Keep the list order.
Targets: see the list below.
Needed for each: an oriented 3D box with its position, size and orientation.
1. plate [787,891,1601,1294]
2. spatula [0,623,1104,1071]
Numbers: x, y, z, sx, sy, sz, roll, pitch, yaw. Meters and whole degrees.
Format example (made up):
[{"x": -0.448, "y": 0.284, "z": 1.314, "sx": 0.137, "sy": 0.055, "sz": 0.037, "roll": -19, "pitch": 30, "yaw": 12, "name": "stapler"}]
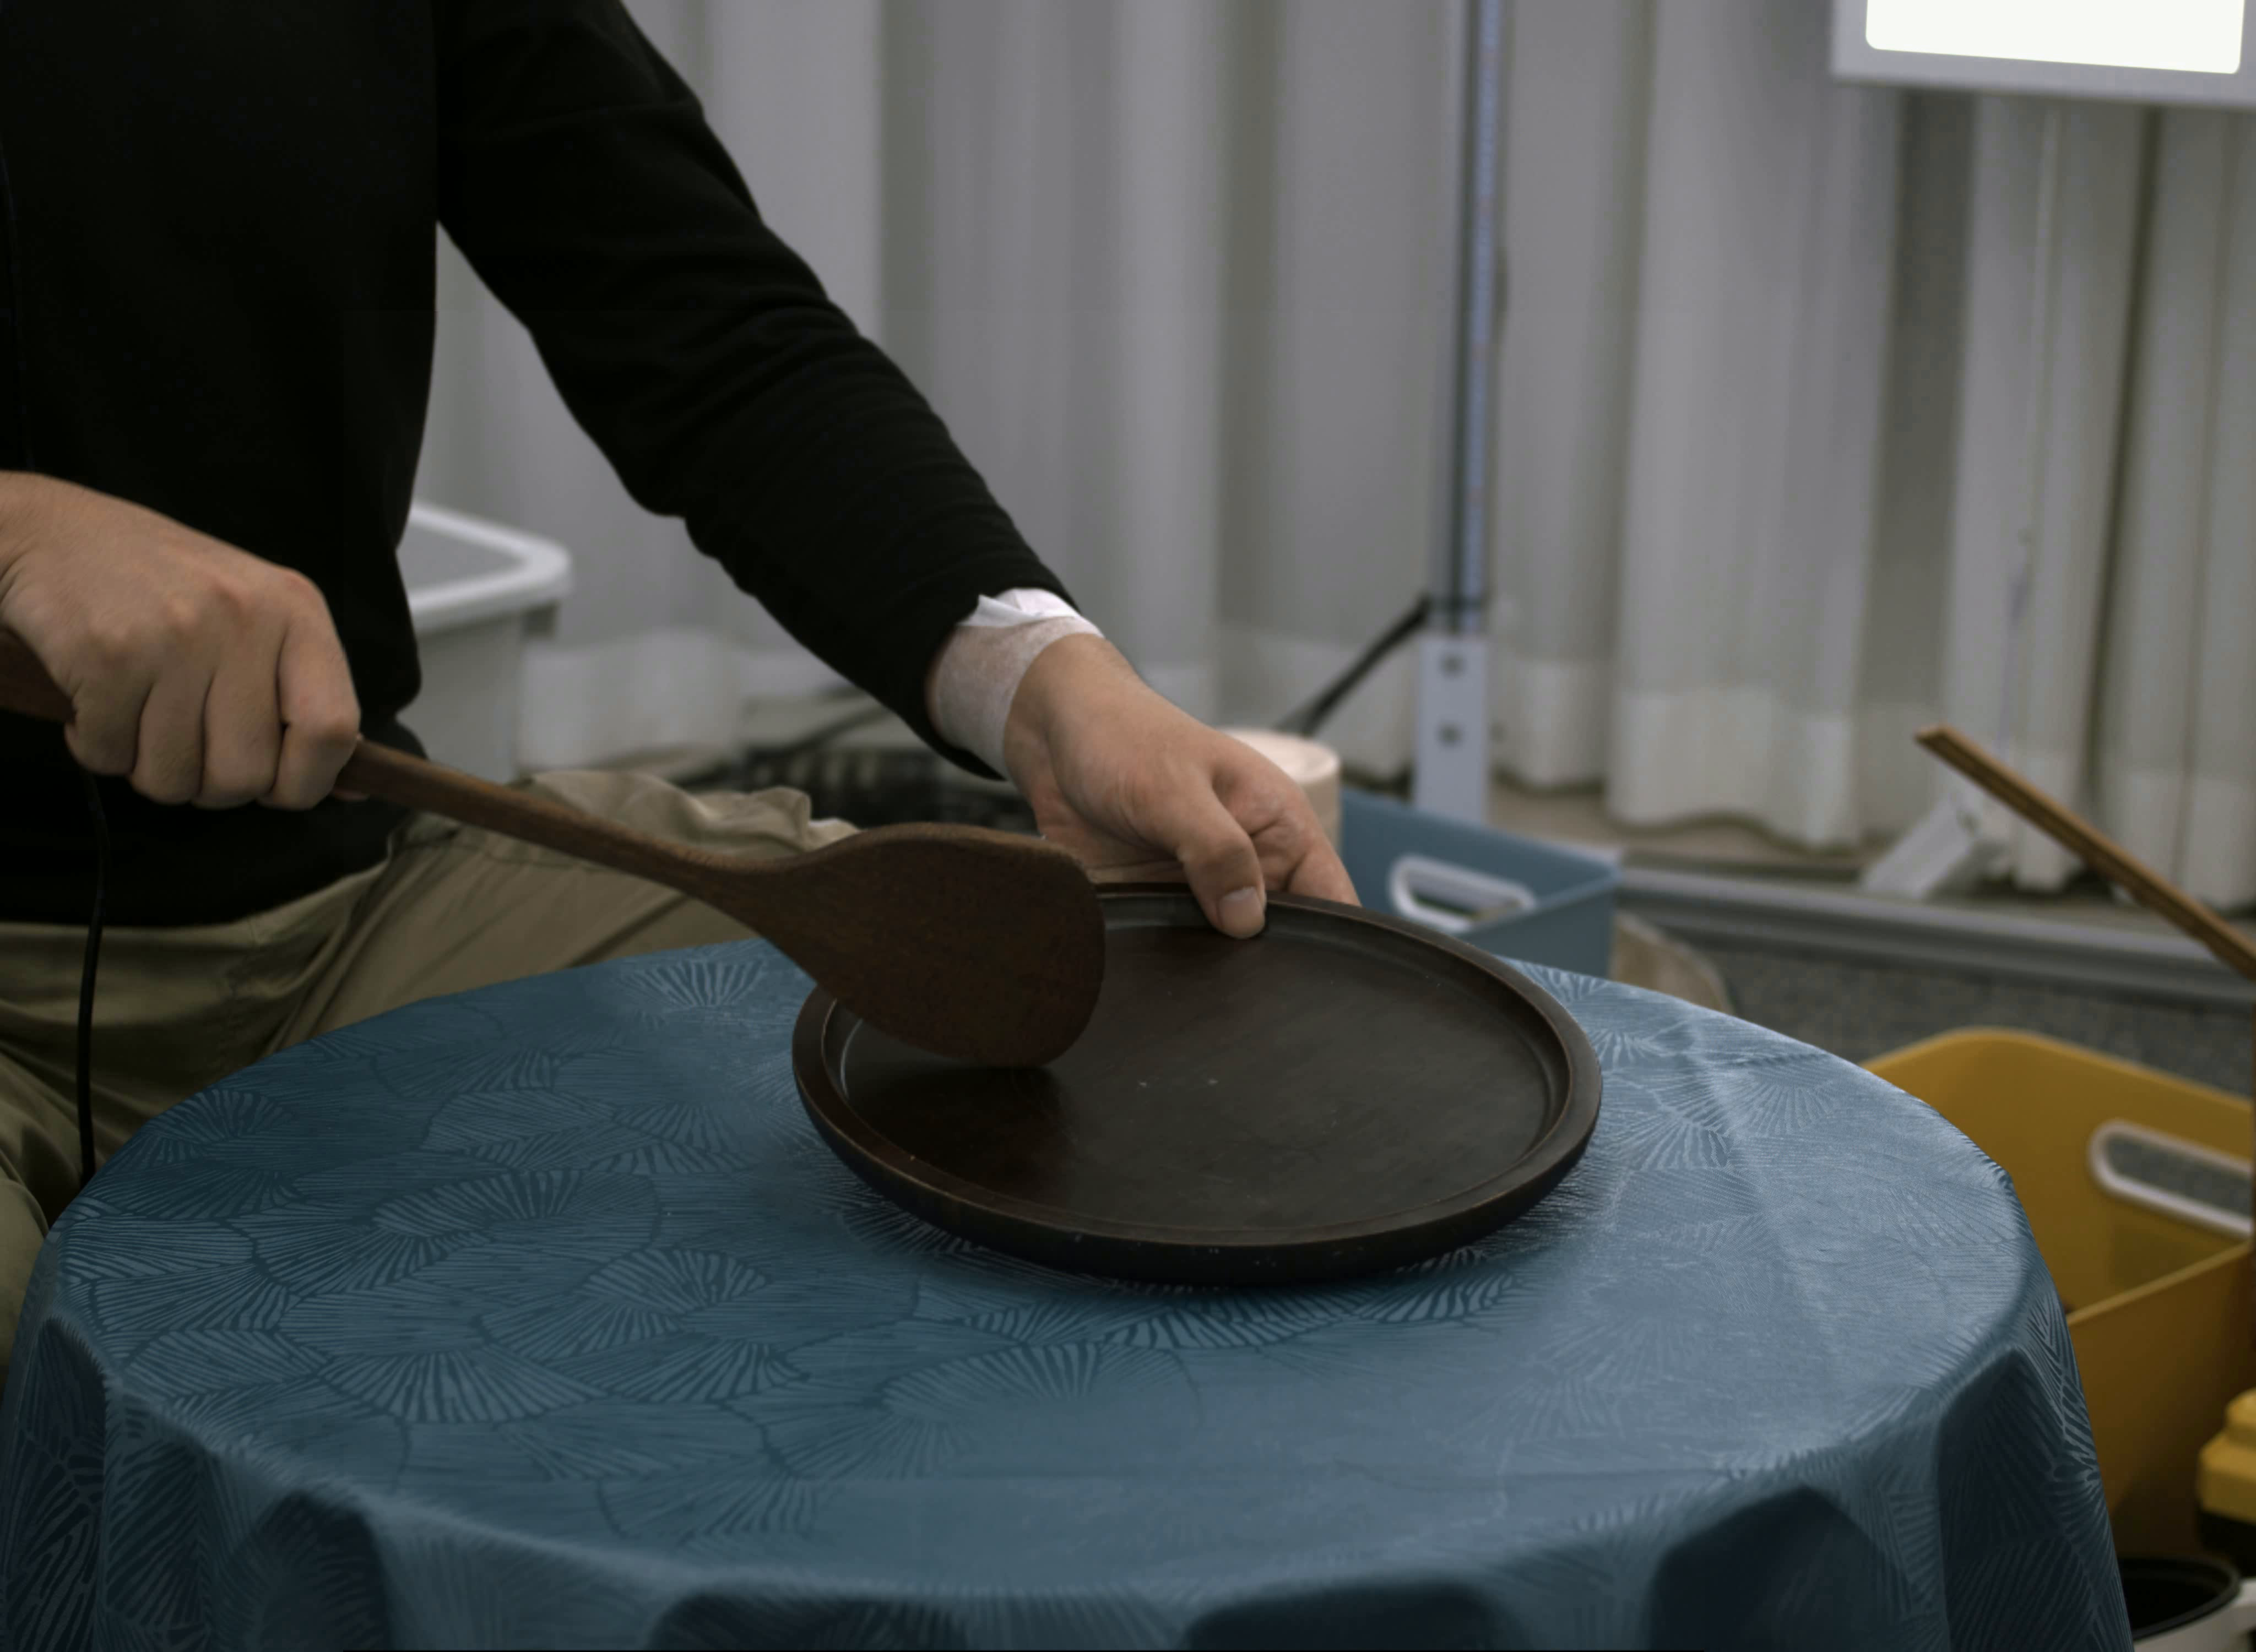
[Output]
[{"x": 0.020, "y": 0.080, "z": 1.636, "sx": 0.254, "sy": 0.029, "sz": 0.253, "roll": 4, "pitch": 25, "yaw": -1, "name": "plate"}, {"x": -0.192, "y": -0.005, "z": 1.617, "sx": 0.384, "sy": 0.097, "sz": 0.016, "roll": 16, "pitch": 42, "yaw": 6, "name": "spatula"}]
